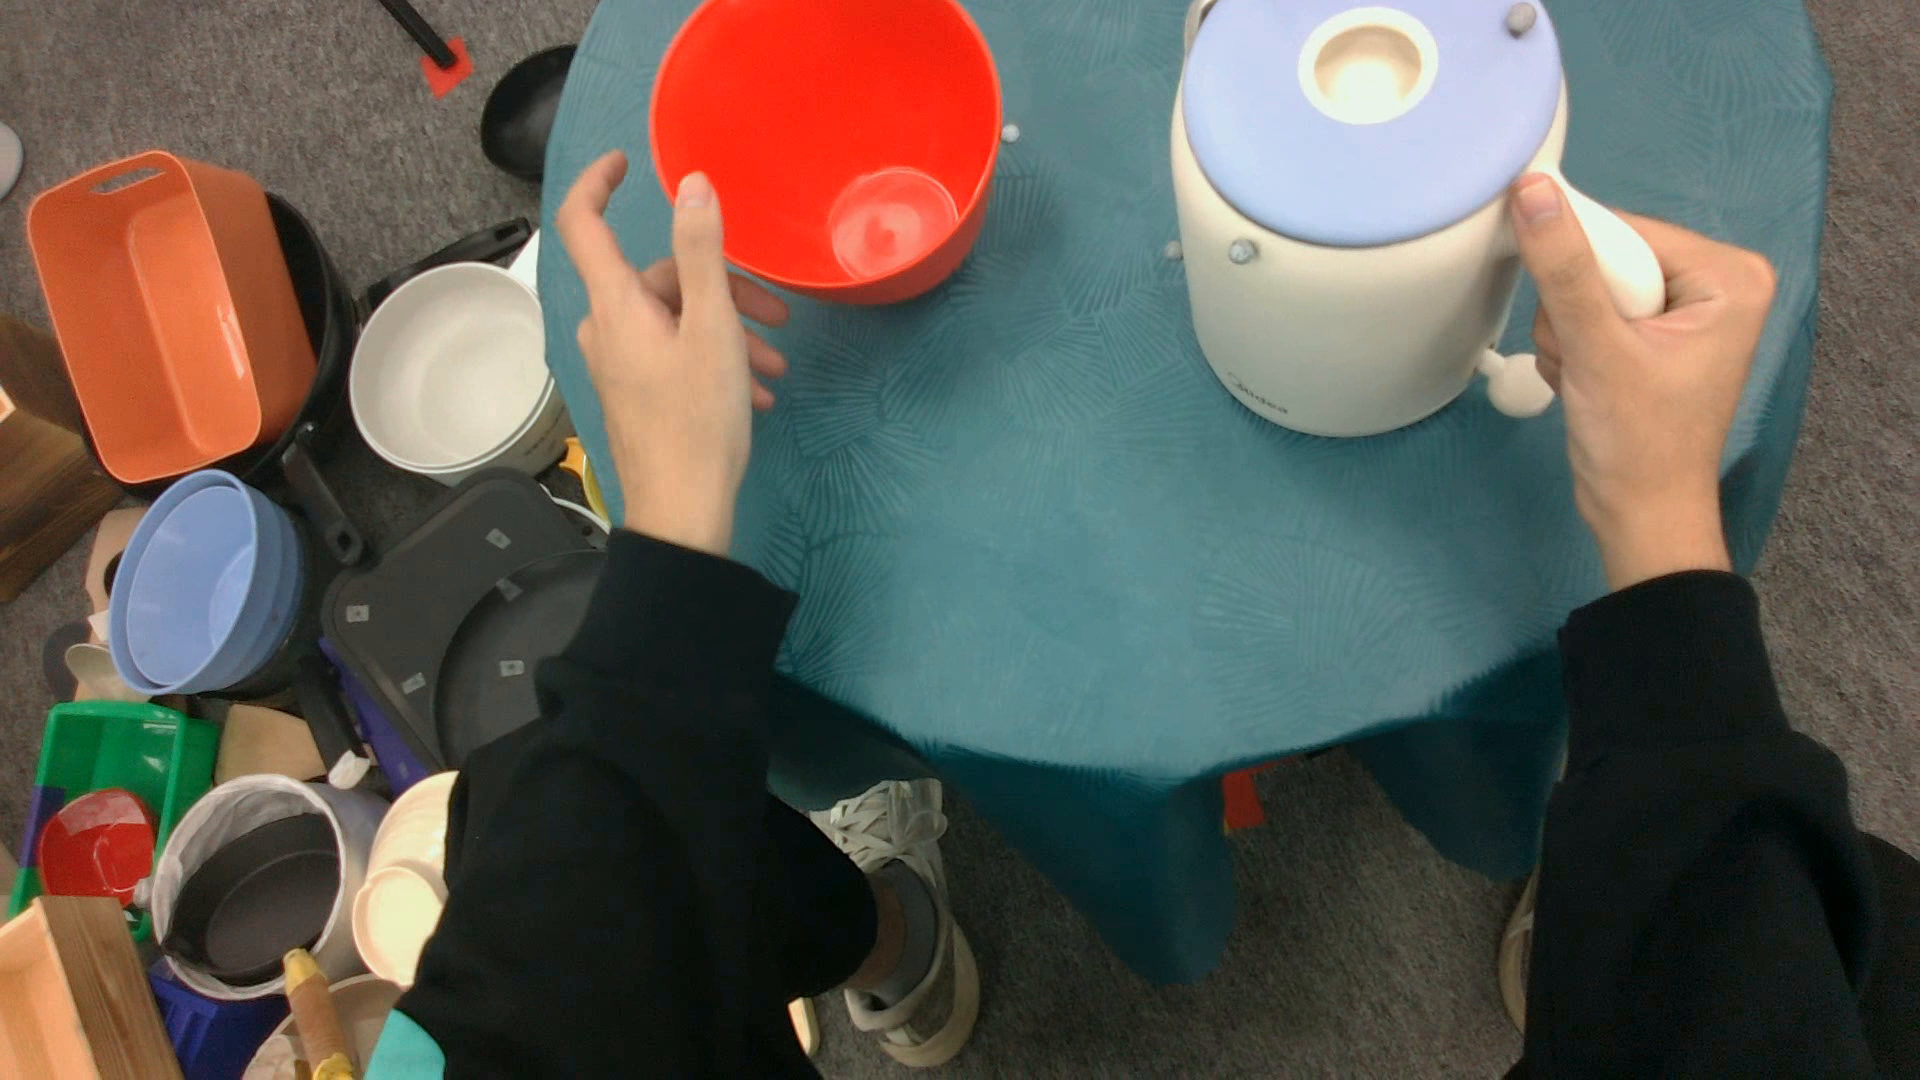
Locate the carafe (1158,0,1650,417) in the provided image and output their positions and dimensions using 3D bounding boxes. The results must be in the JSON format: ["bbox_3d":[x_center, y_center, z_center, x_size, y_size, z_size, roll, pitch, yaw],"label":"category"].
[{"bbox_3d":[0.164,-0.121,0.523,0.191,0.182,0.132,34,85,16],"label":"carafe"}]

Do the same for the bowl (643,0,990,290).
[{"bbox_3d":[-0.053,-0.174,0.618,0.148,0.104,0.148,-3,74,10],"label":"bowl"}]
